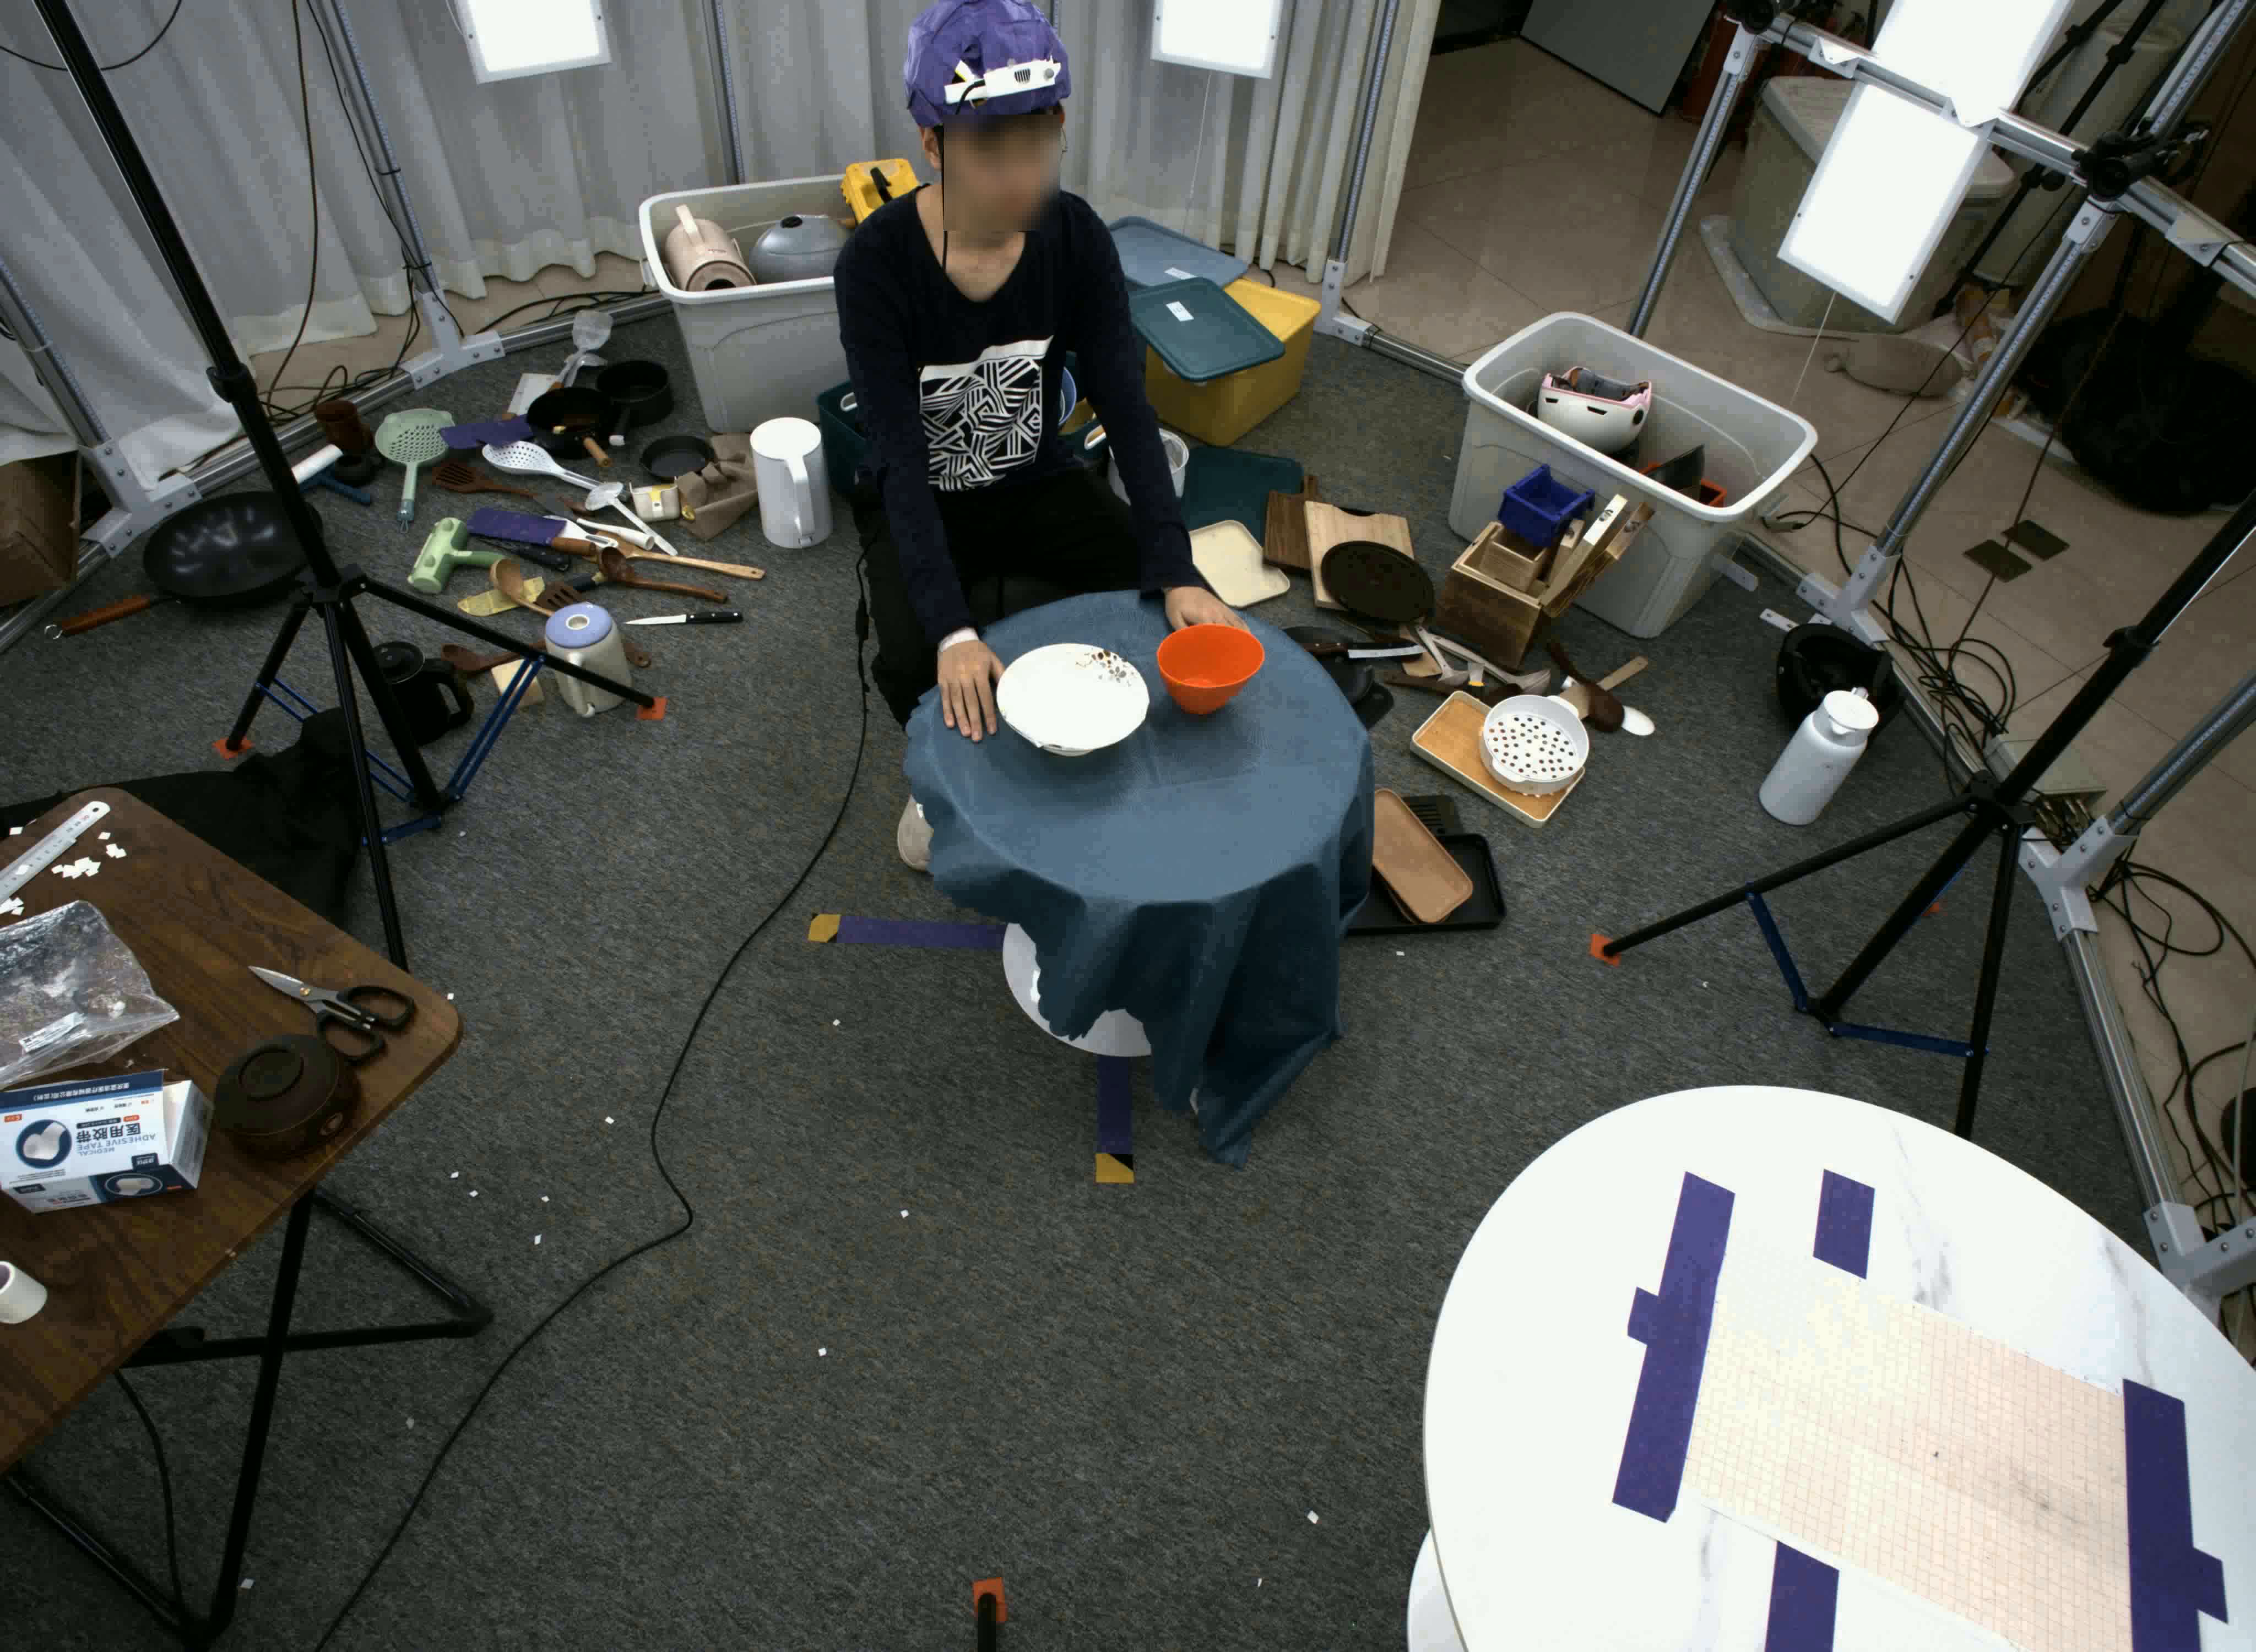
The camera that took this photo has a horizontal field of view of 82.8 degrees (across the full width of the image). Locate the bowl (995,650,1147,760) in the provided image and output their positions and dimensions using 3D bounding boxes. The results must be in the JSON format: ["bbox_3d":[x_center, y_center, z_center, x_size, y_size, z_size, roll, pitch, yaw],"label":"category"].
[{"bbox_3d":[-0.078,-0.148,1.745,0.204,0.076,0.209,2,44,-2],"label":"bowl"}]

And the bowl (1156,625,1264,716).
[{"bbox_3d":[0.110,-0.207,1.791,0.148,0.102,0.152,1,47,-2],"label":"bowl"}]
